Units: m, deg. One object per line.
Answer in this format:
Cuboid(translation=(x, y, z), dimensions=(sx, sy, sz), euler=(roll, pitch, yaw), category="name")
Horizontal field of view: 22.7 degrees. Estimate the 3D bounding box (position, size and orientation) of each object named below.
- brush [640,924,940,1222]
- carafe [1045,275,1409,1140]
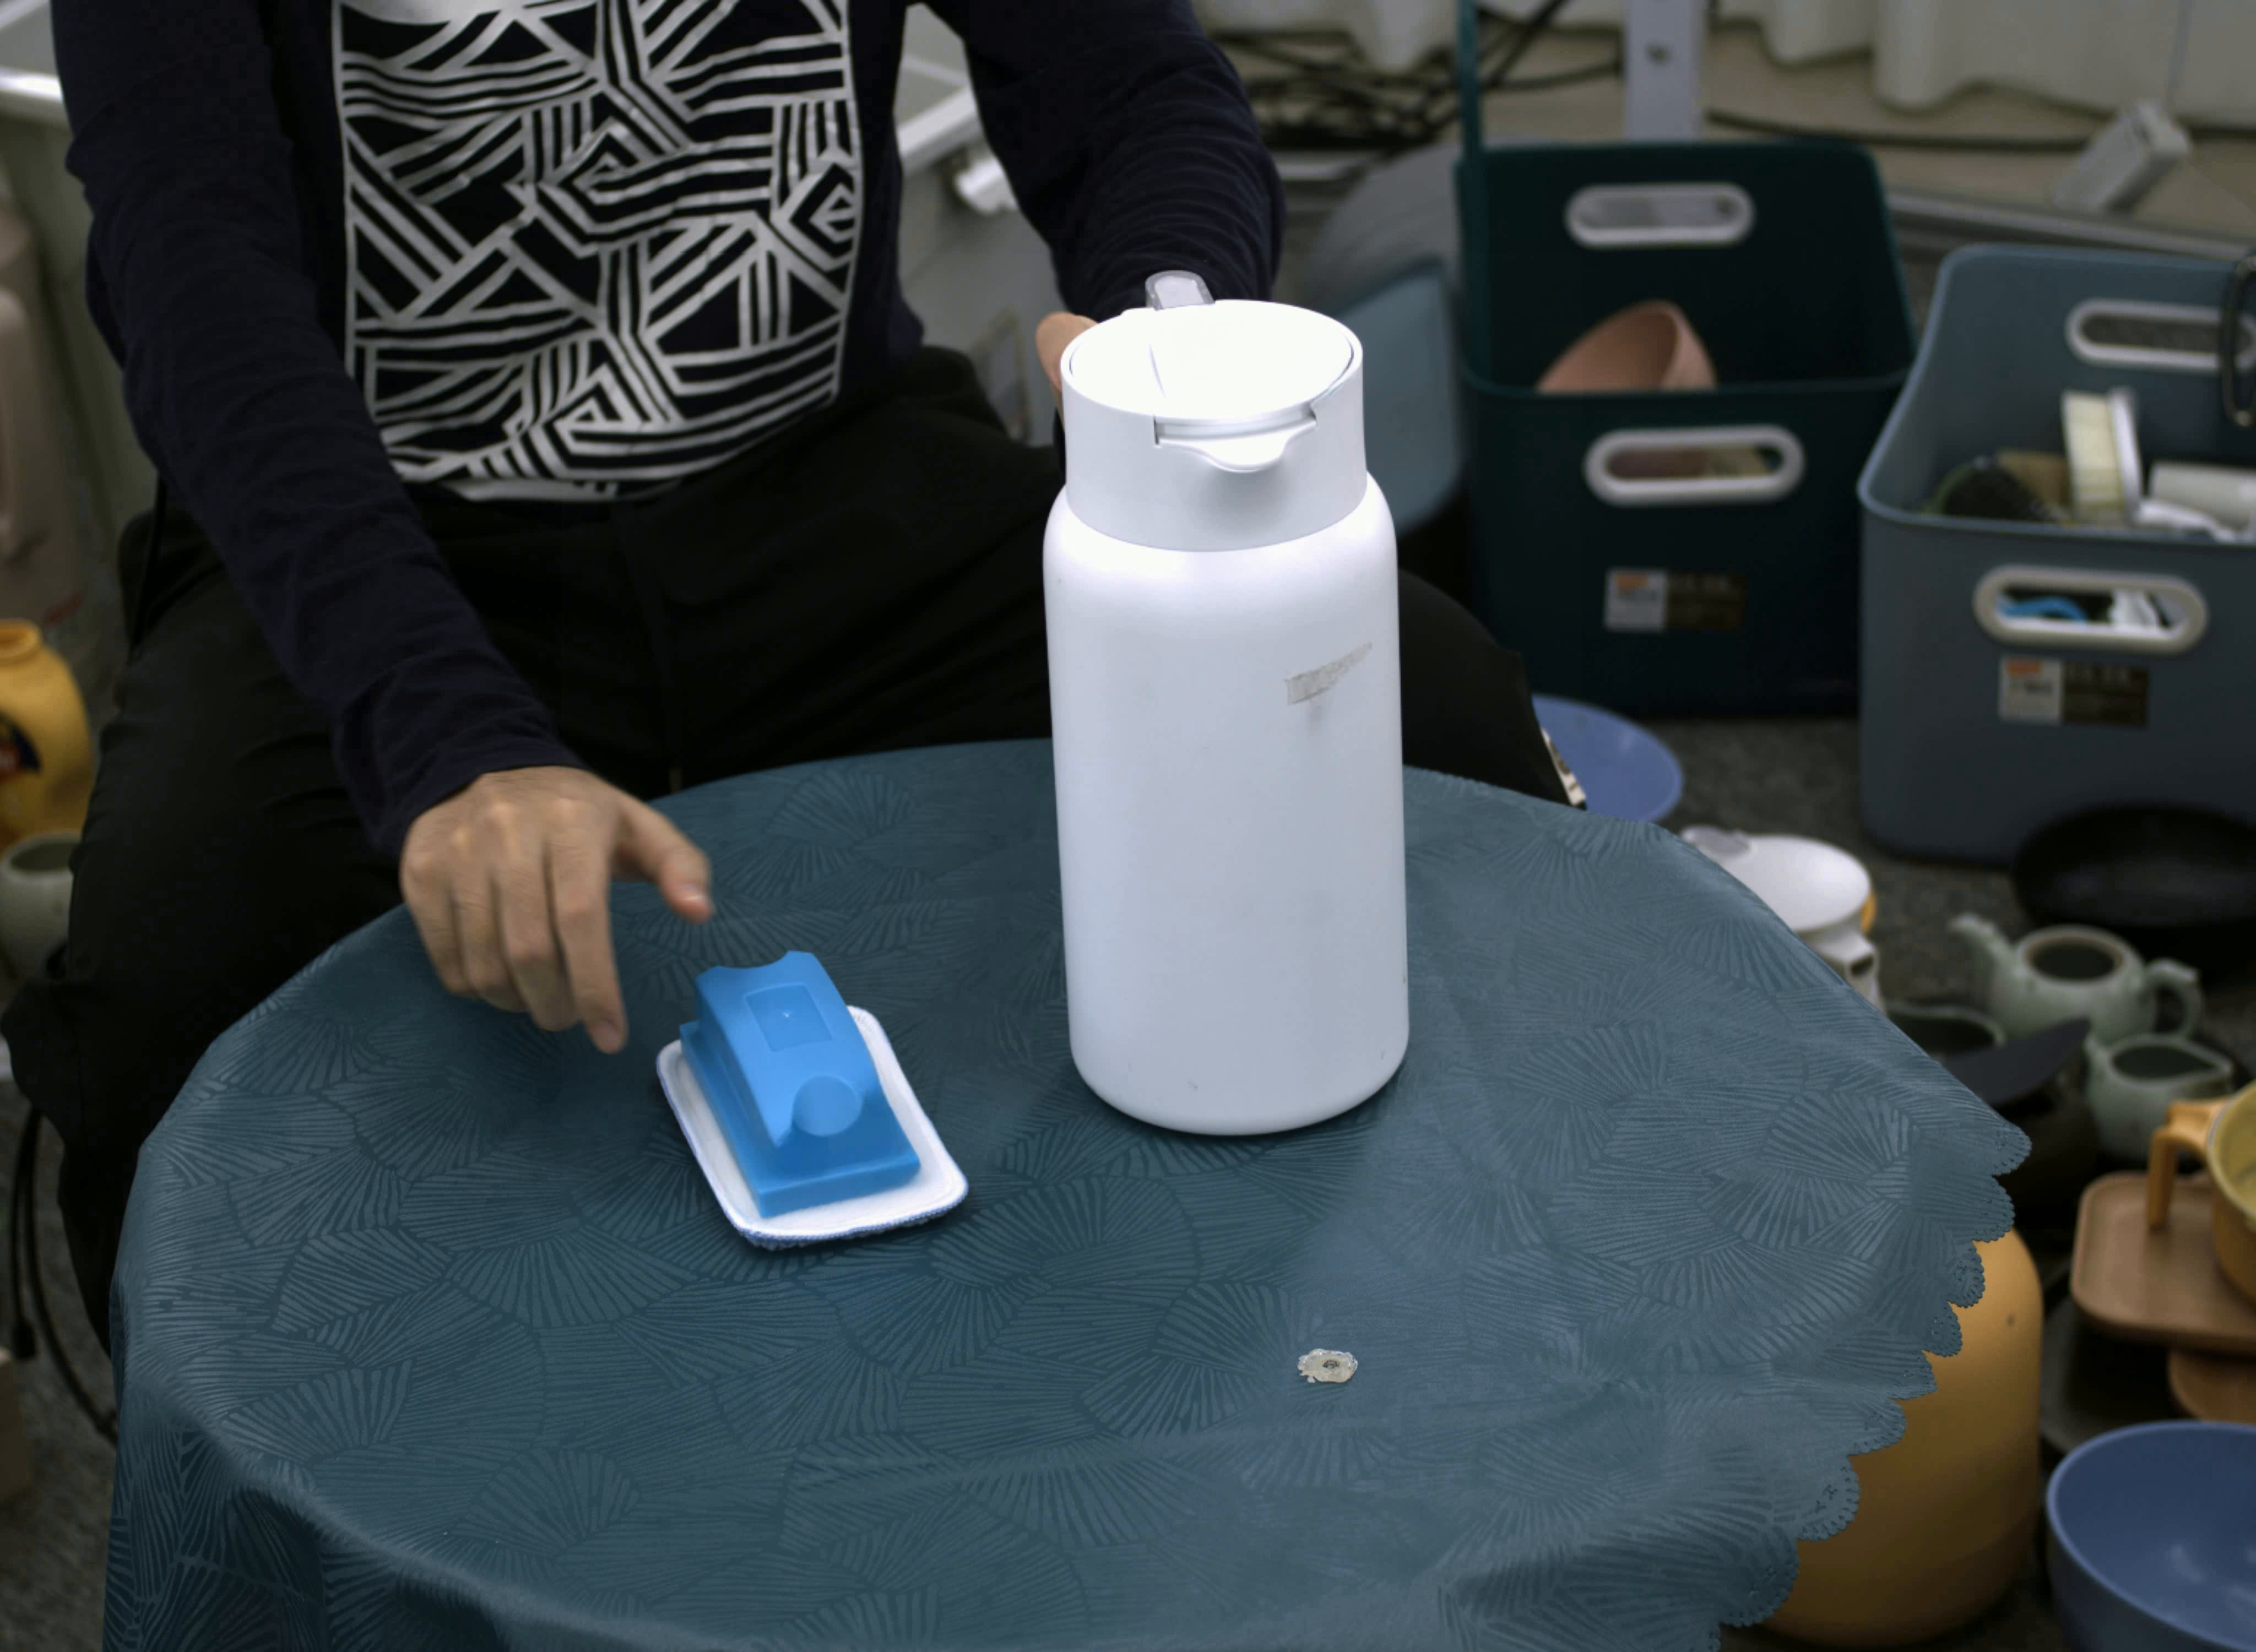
Cuboid(translation=(-0.113, 0.078, 1.886), dimensions=(0.084, 0.055, 0.145), euler=(-7, 31, -14), category="brush")
Cuboid(translation=(0.028, -0.043, 1.890), dimensions=(0.124, 0.266, 0.174), euler=(-9, 26, -9), category="carafe")
